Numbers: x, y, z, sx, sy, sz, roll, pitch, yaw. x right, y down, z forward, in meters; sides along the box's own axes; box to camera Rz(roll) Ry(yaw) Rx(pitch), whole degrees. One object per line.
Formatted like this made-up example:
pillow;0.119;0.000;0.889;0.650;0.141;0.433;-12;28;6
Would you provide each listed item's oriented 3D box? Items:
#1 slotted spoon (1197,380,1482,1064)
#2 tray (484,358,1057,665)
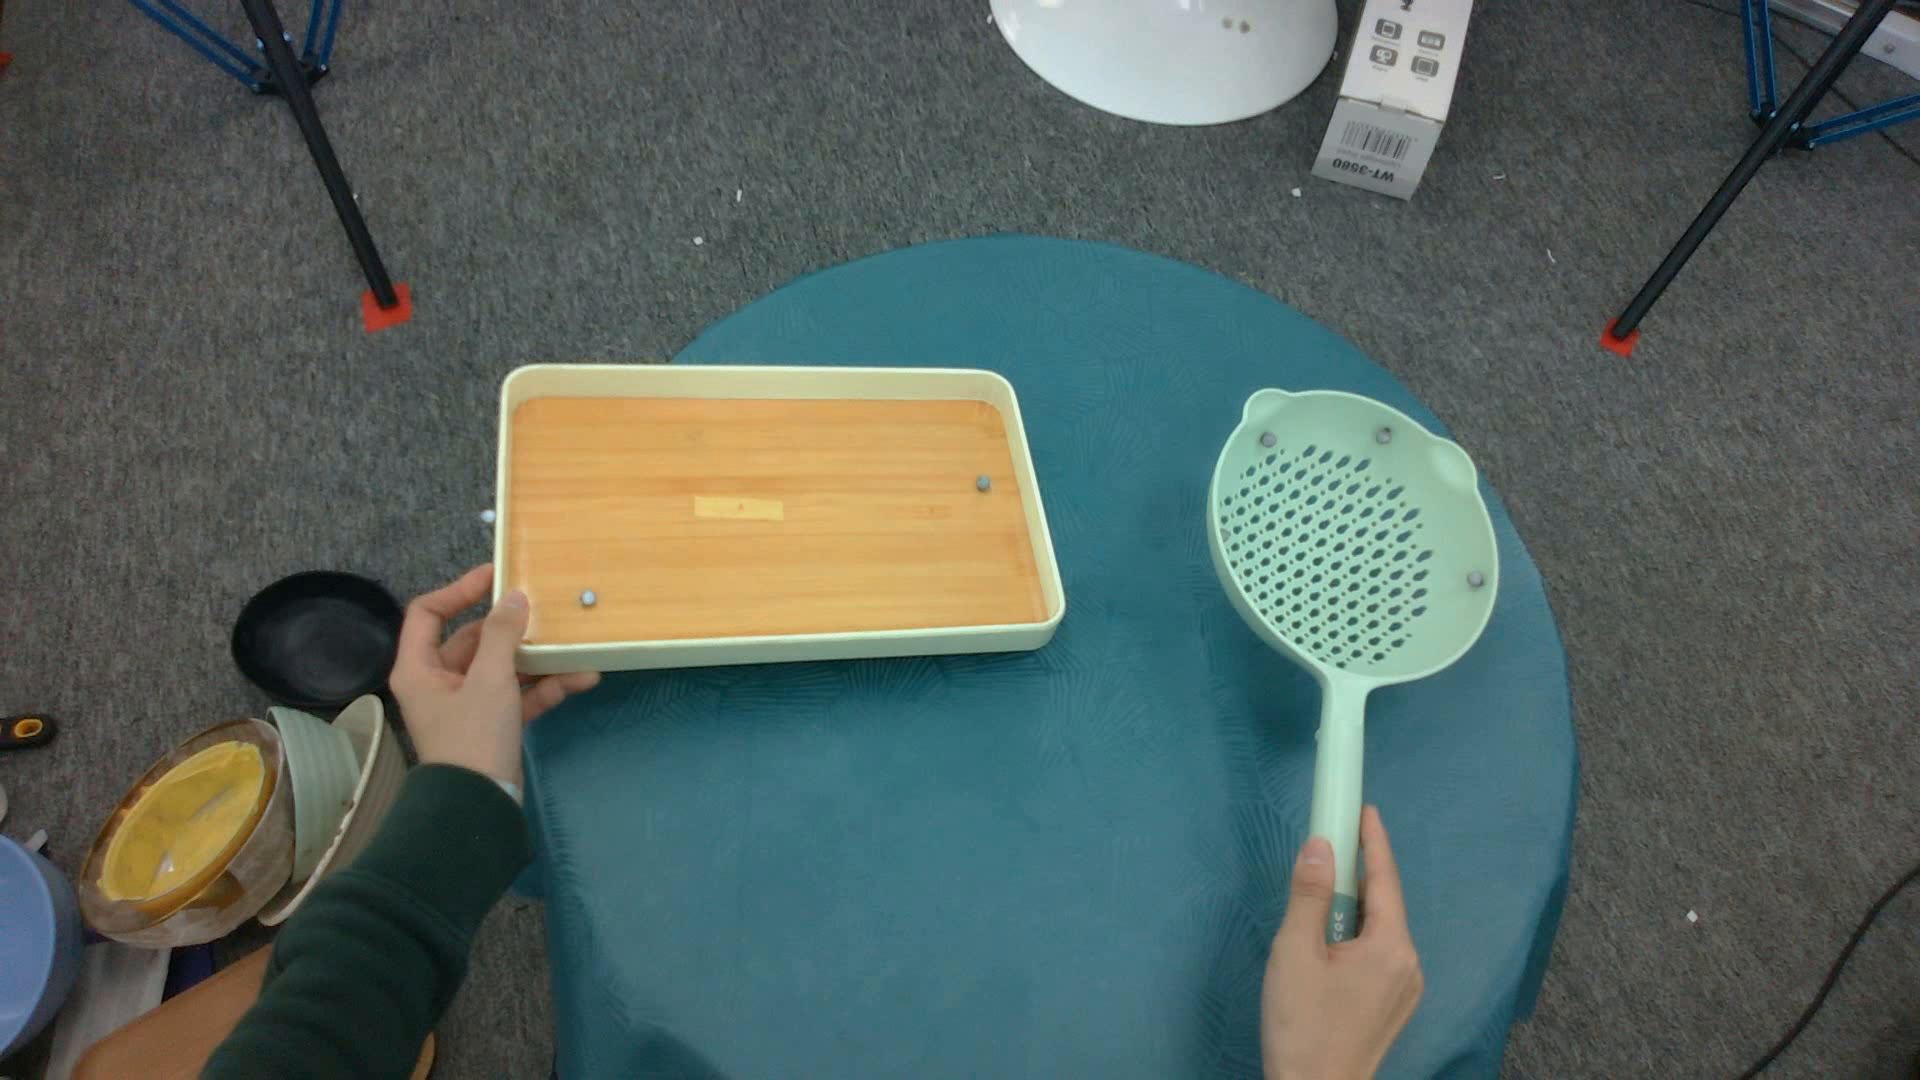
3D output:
slotted spoon;0.190;0.080;0.715;0.169;0.075;0.360;15;55;-9
tray;-0.106;-0.023;0.773;0.301;0.027;0.192;-1;55;-14
